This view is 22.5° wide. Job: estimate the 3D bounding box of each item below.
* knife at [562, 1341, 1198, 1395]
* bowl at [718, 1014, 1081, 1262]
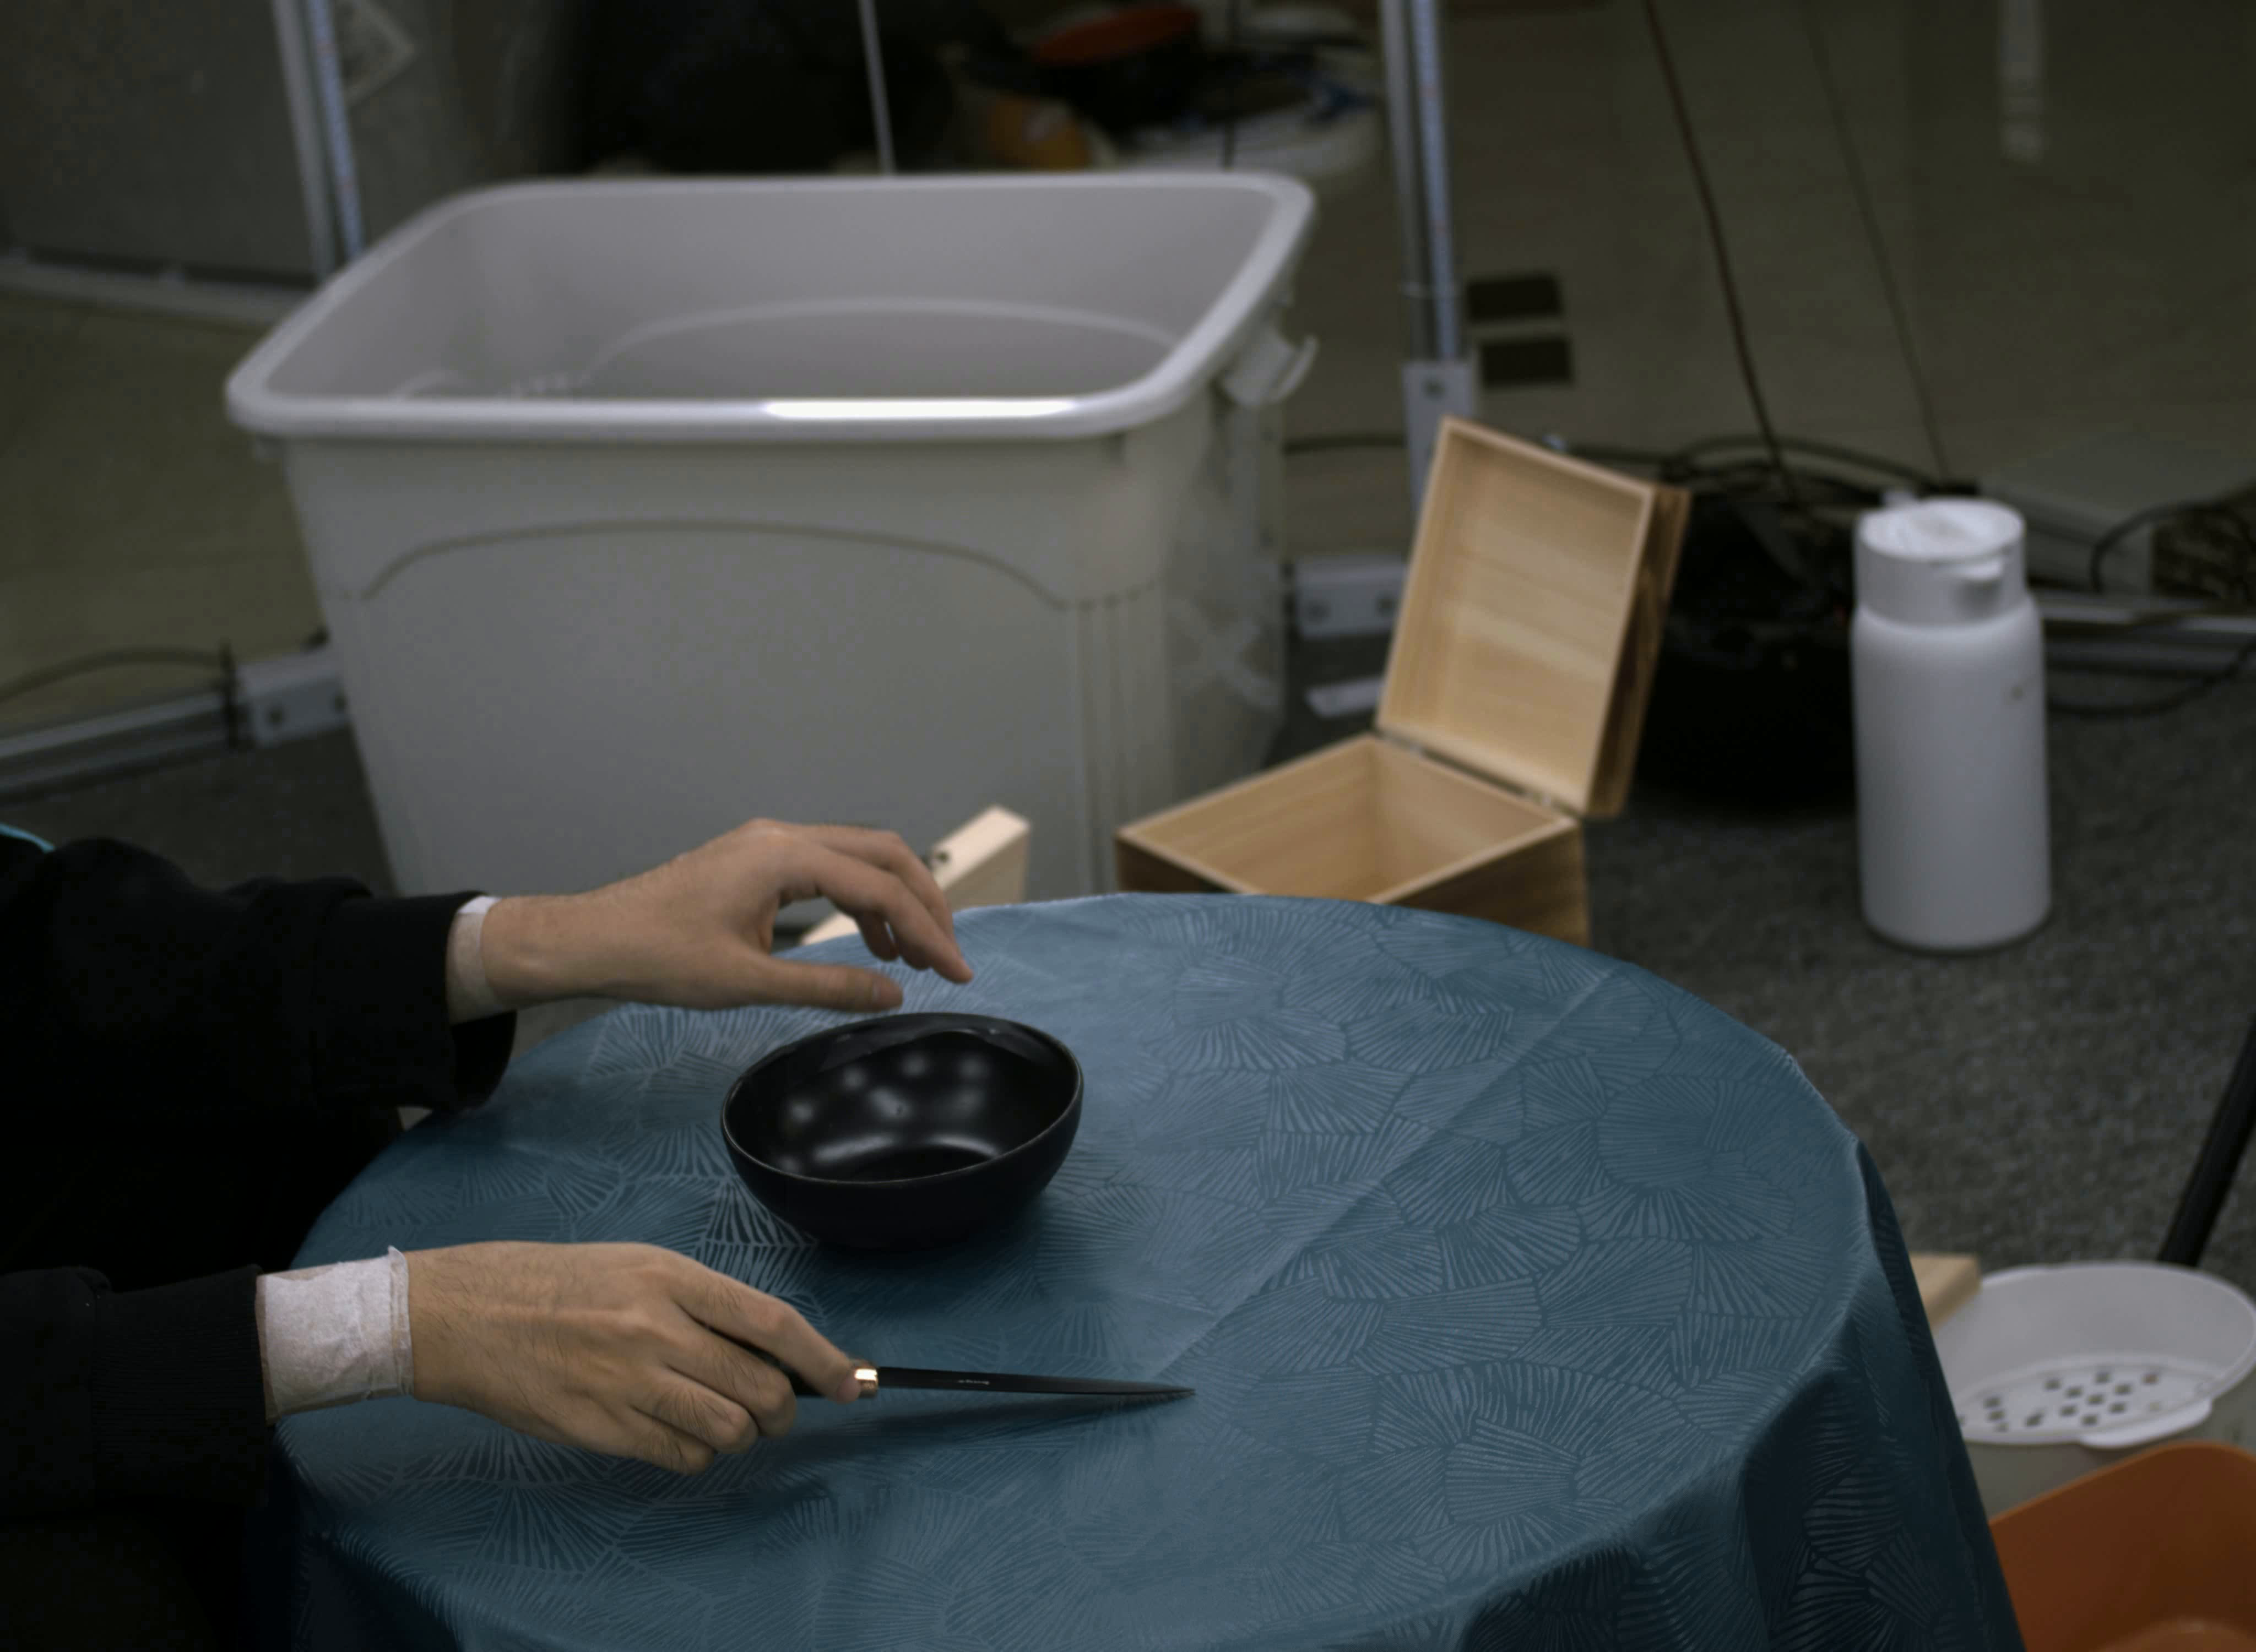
[{"bbox_3d":[-0.087,0.193,2.005,0.225,0.017,0.026,2,10,-4],"label":"knife"},{"bbox_3d":[-0.083,0.126,2.143,0.140,0.050,0.138,-9,27,5],"label":"bowl"}]
